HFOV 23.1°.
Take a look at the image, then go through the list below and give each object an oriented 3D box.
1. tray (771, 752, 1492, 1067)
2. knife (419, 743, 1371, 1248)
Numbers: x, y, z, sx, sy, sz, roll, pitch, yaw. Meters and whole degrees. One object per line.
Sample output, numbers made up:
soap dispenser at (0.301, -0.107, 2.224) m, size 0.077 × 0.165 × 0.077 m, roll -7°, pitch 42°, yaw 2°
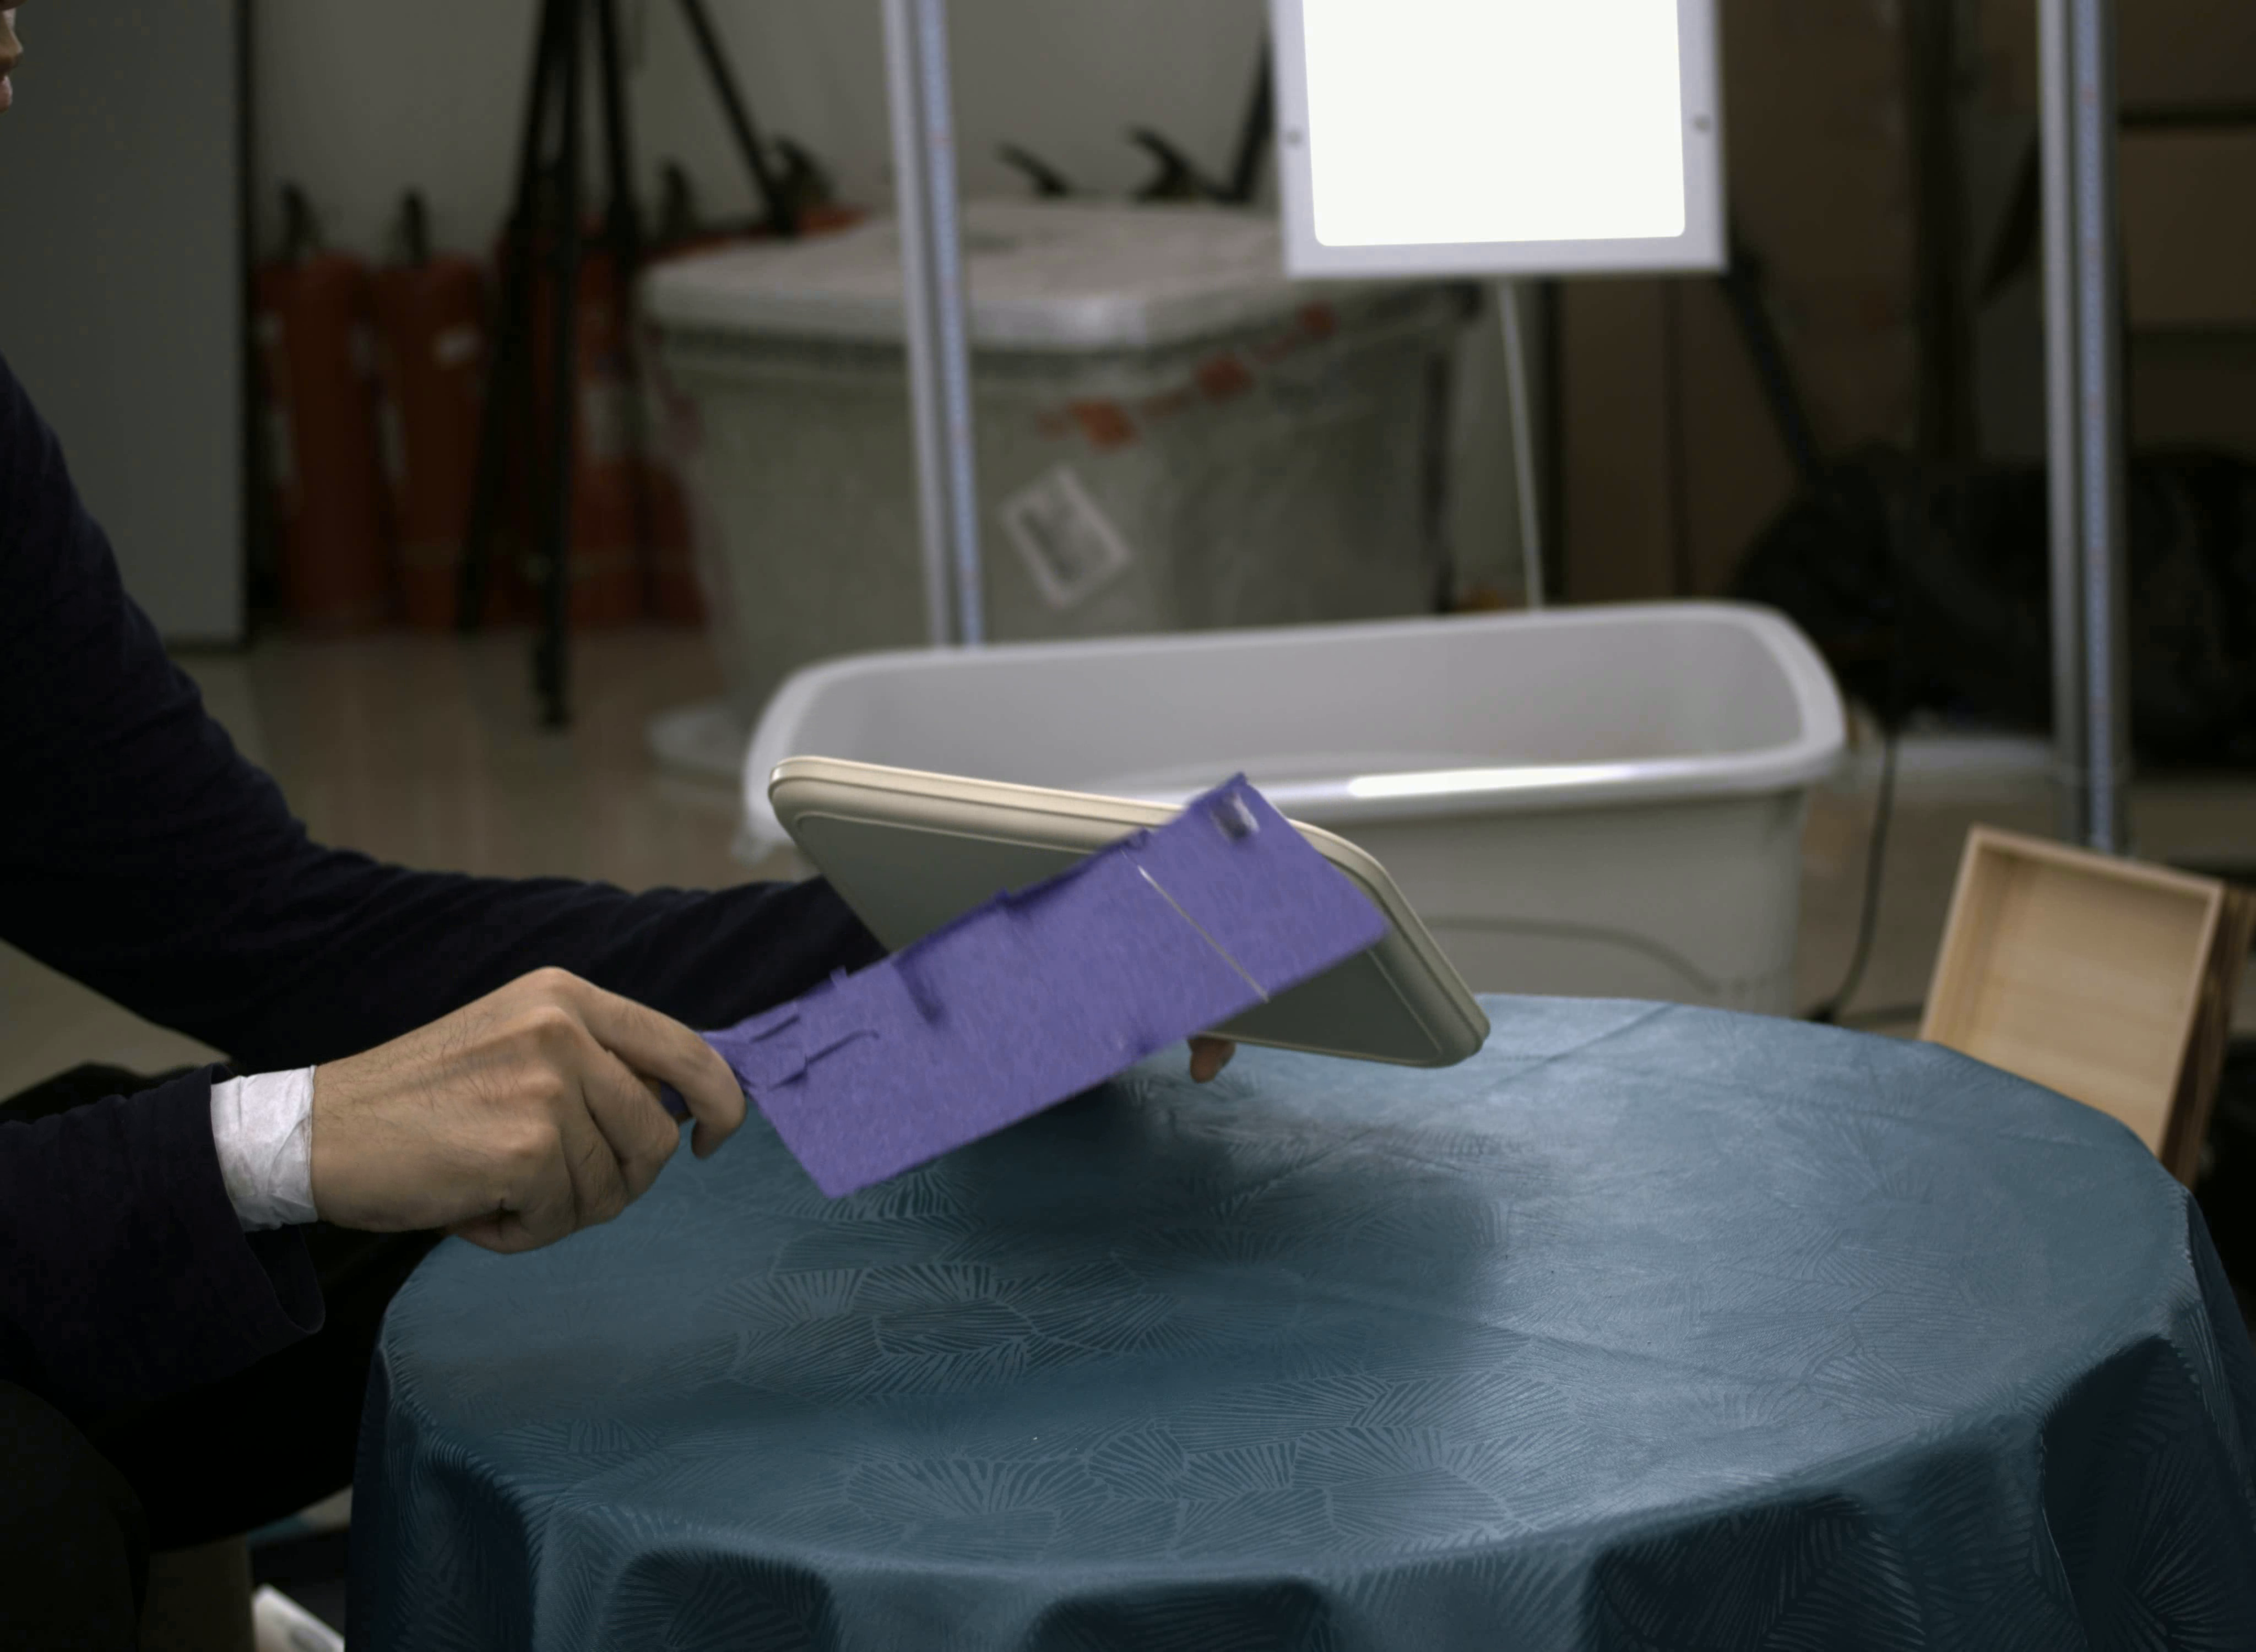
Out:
tray at (0.000, 0.032, 1.918) m, size 0.244 × 0.017 × 0.169 m, roll 7°, pitch -26°, yaw 29°
knife at (-0.070, 0.065, 1.754) m, size 0.311 × 0.032 × 0.105 m, roll -29°, pitch 43°, yaw -15°
